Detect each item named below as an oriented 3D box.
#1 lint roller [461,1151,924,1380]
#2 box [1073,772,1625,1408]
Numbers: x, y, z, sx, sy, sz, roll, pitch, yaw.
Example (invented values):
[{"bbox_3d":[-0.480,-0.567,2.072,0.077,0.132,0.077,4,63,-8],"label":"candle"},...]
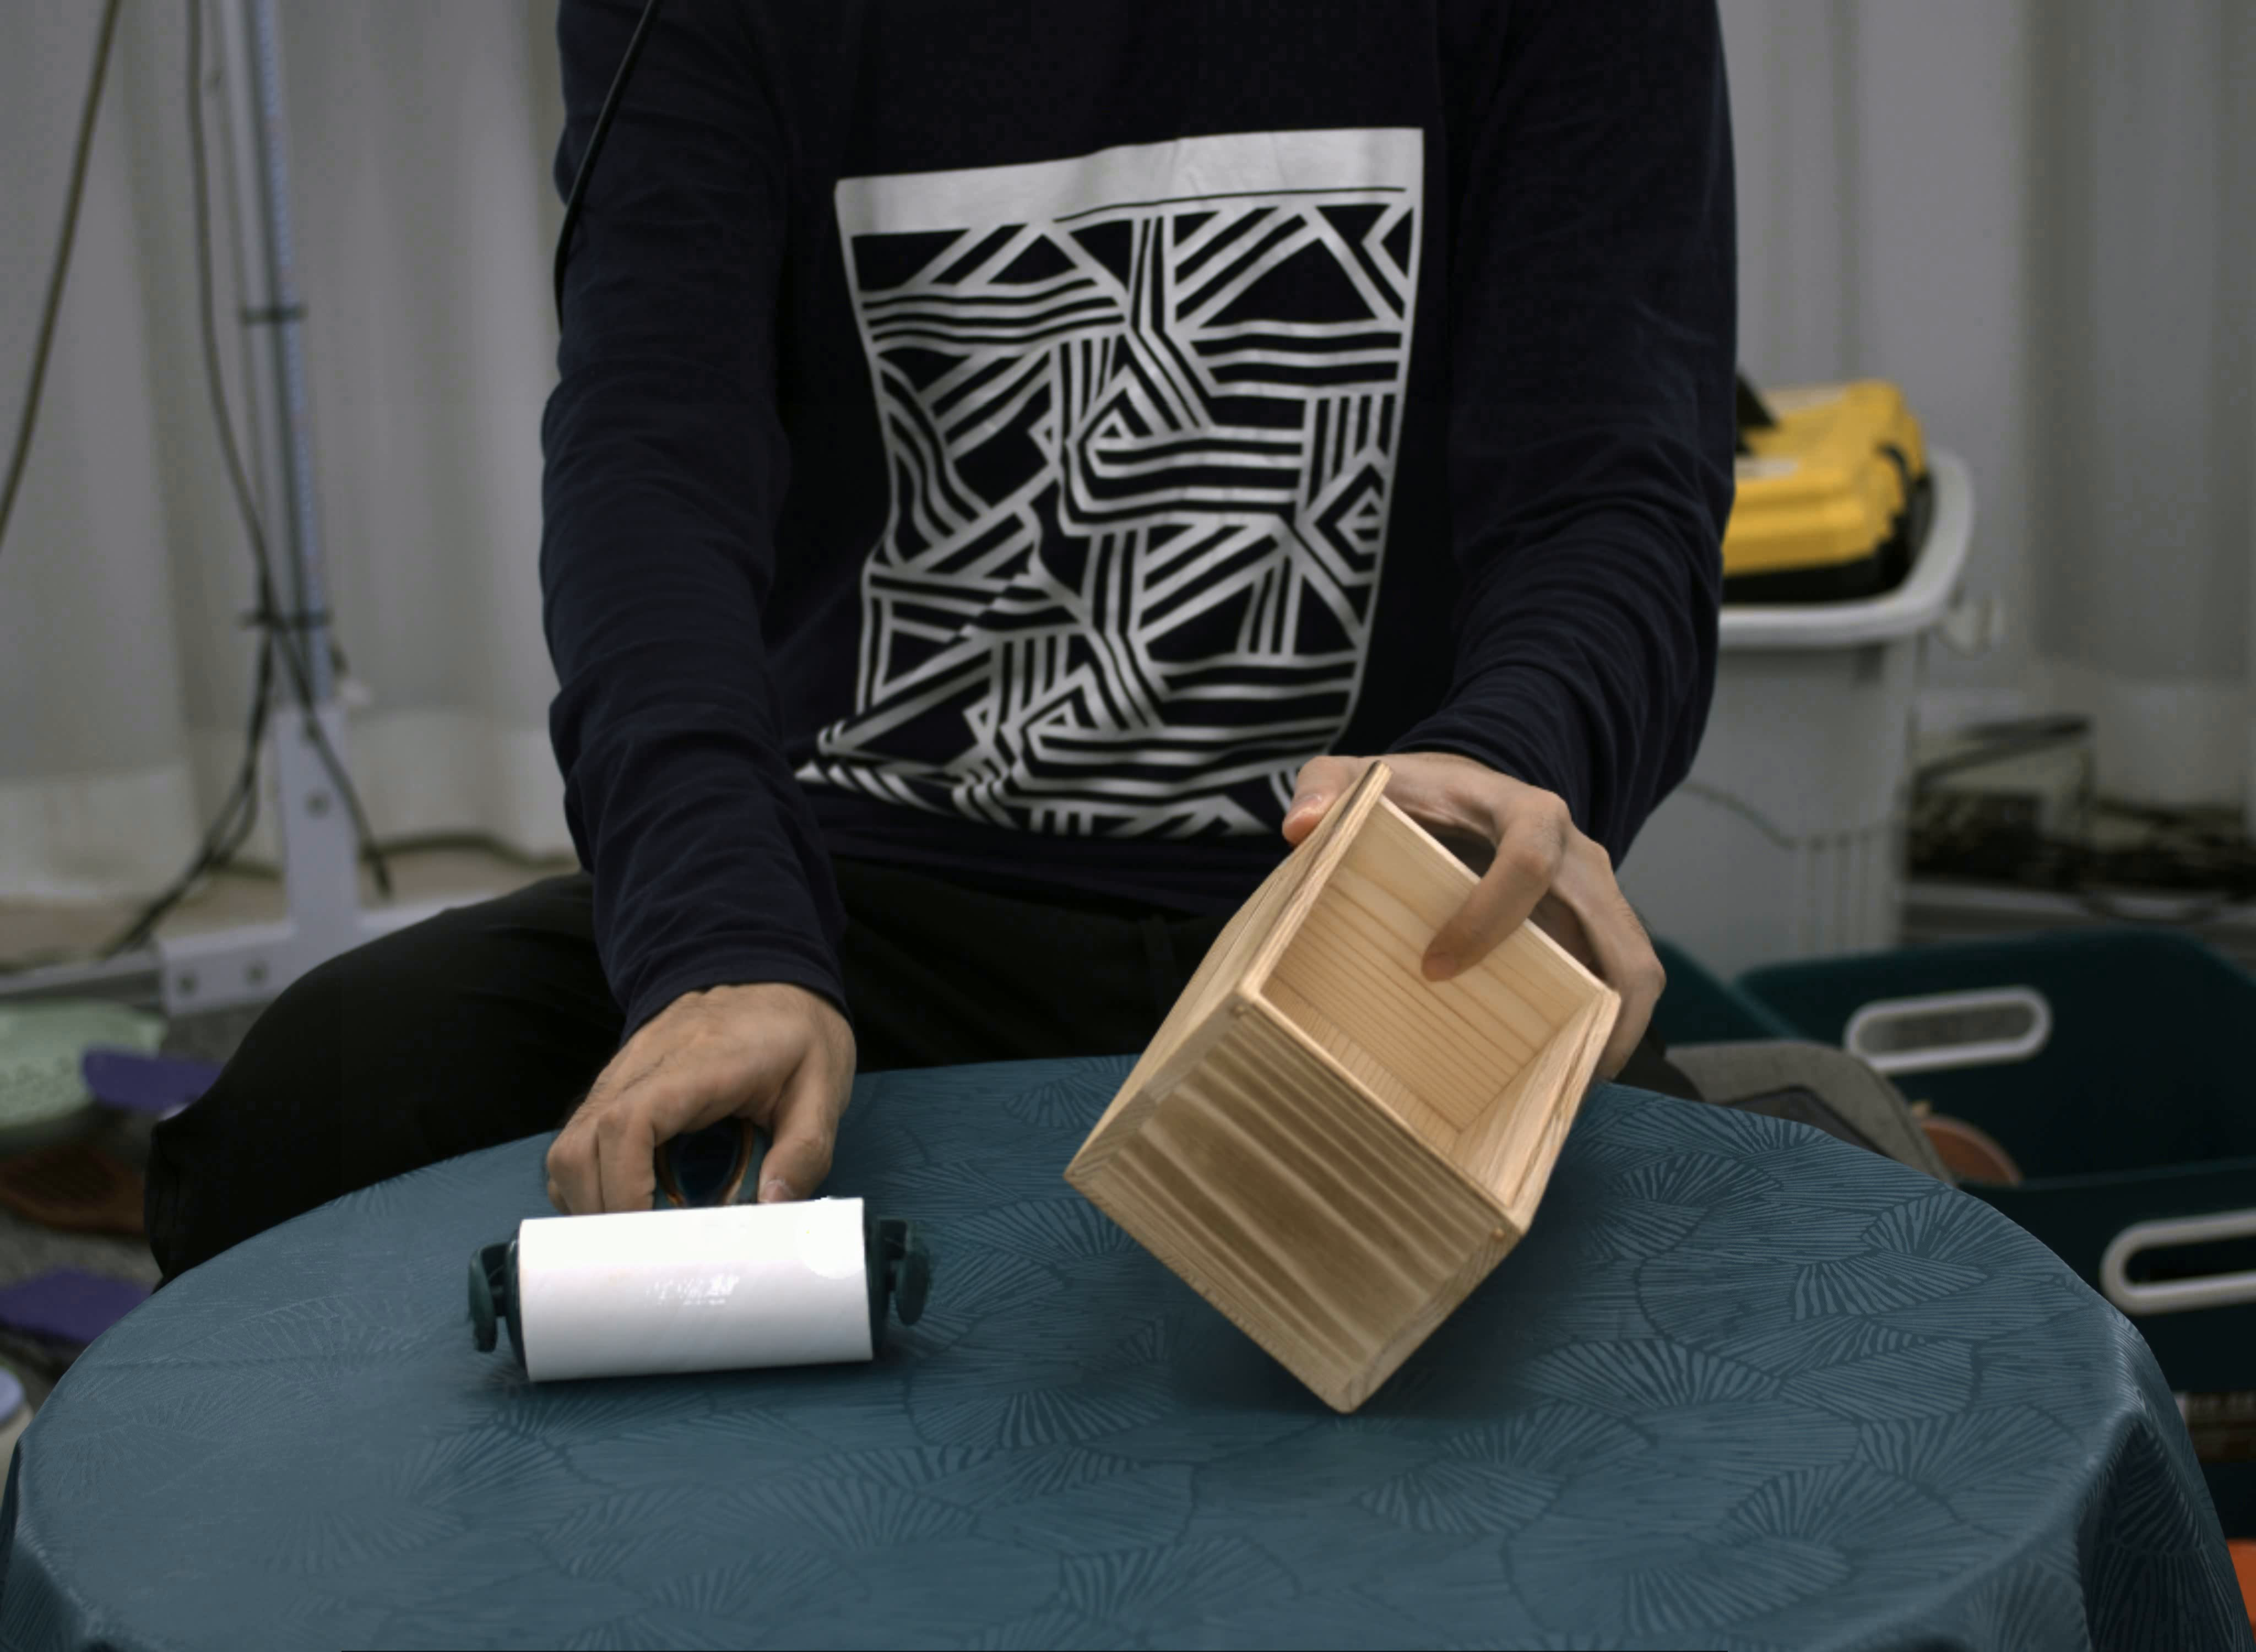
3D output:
[{"bbox_3d":[-0.129,0.113,1.638,0.134,0.048,0.181,-4,18,-2],"label":"lint roller"},{"bbox_3d":[0.068,0.072,1.597,0.107,0.080,0.212,38,20,-1],"label":"box"}]
